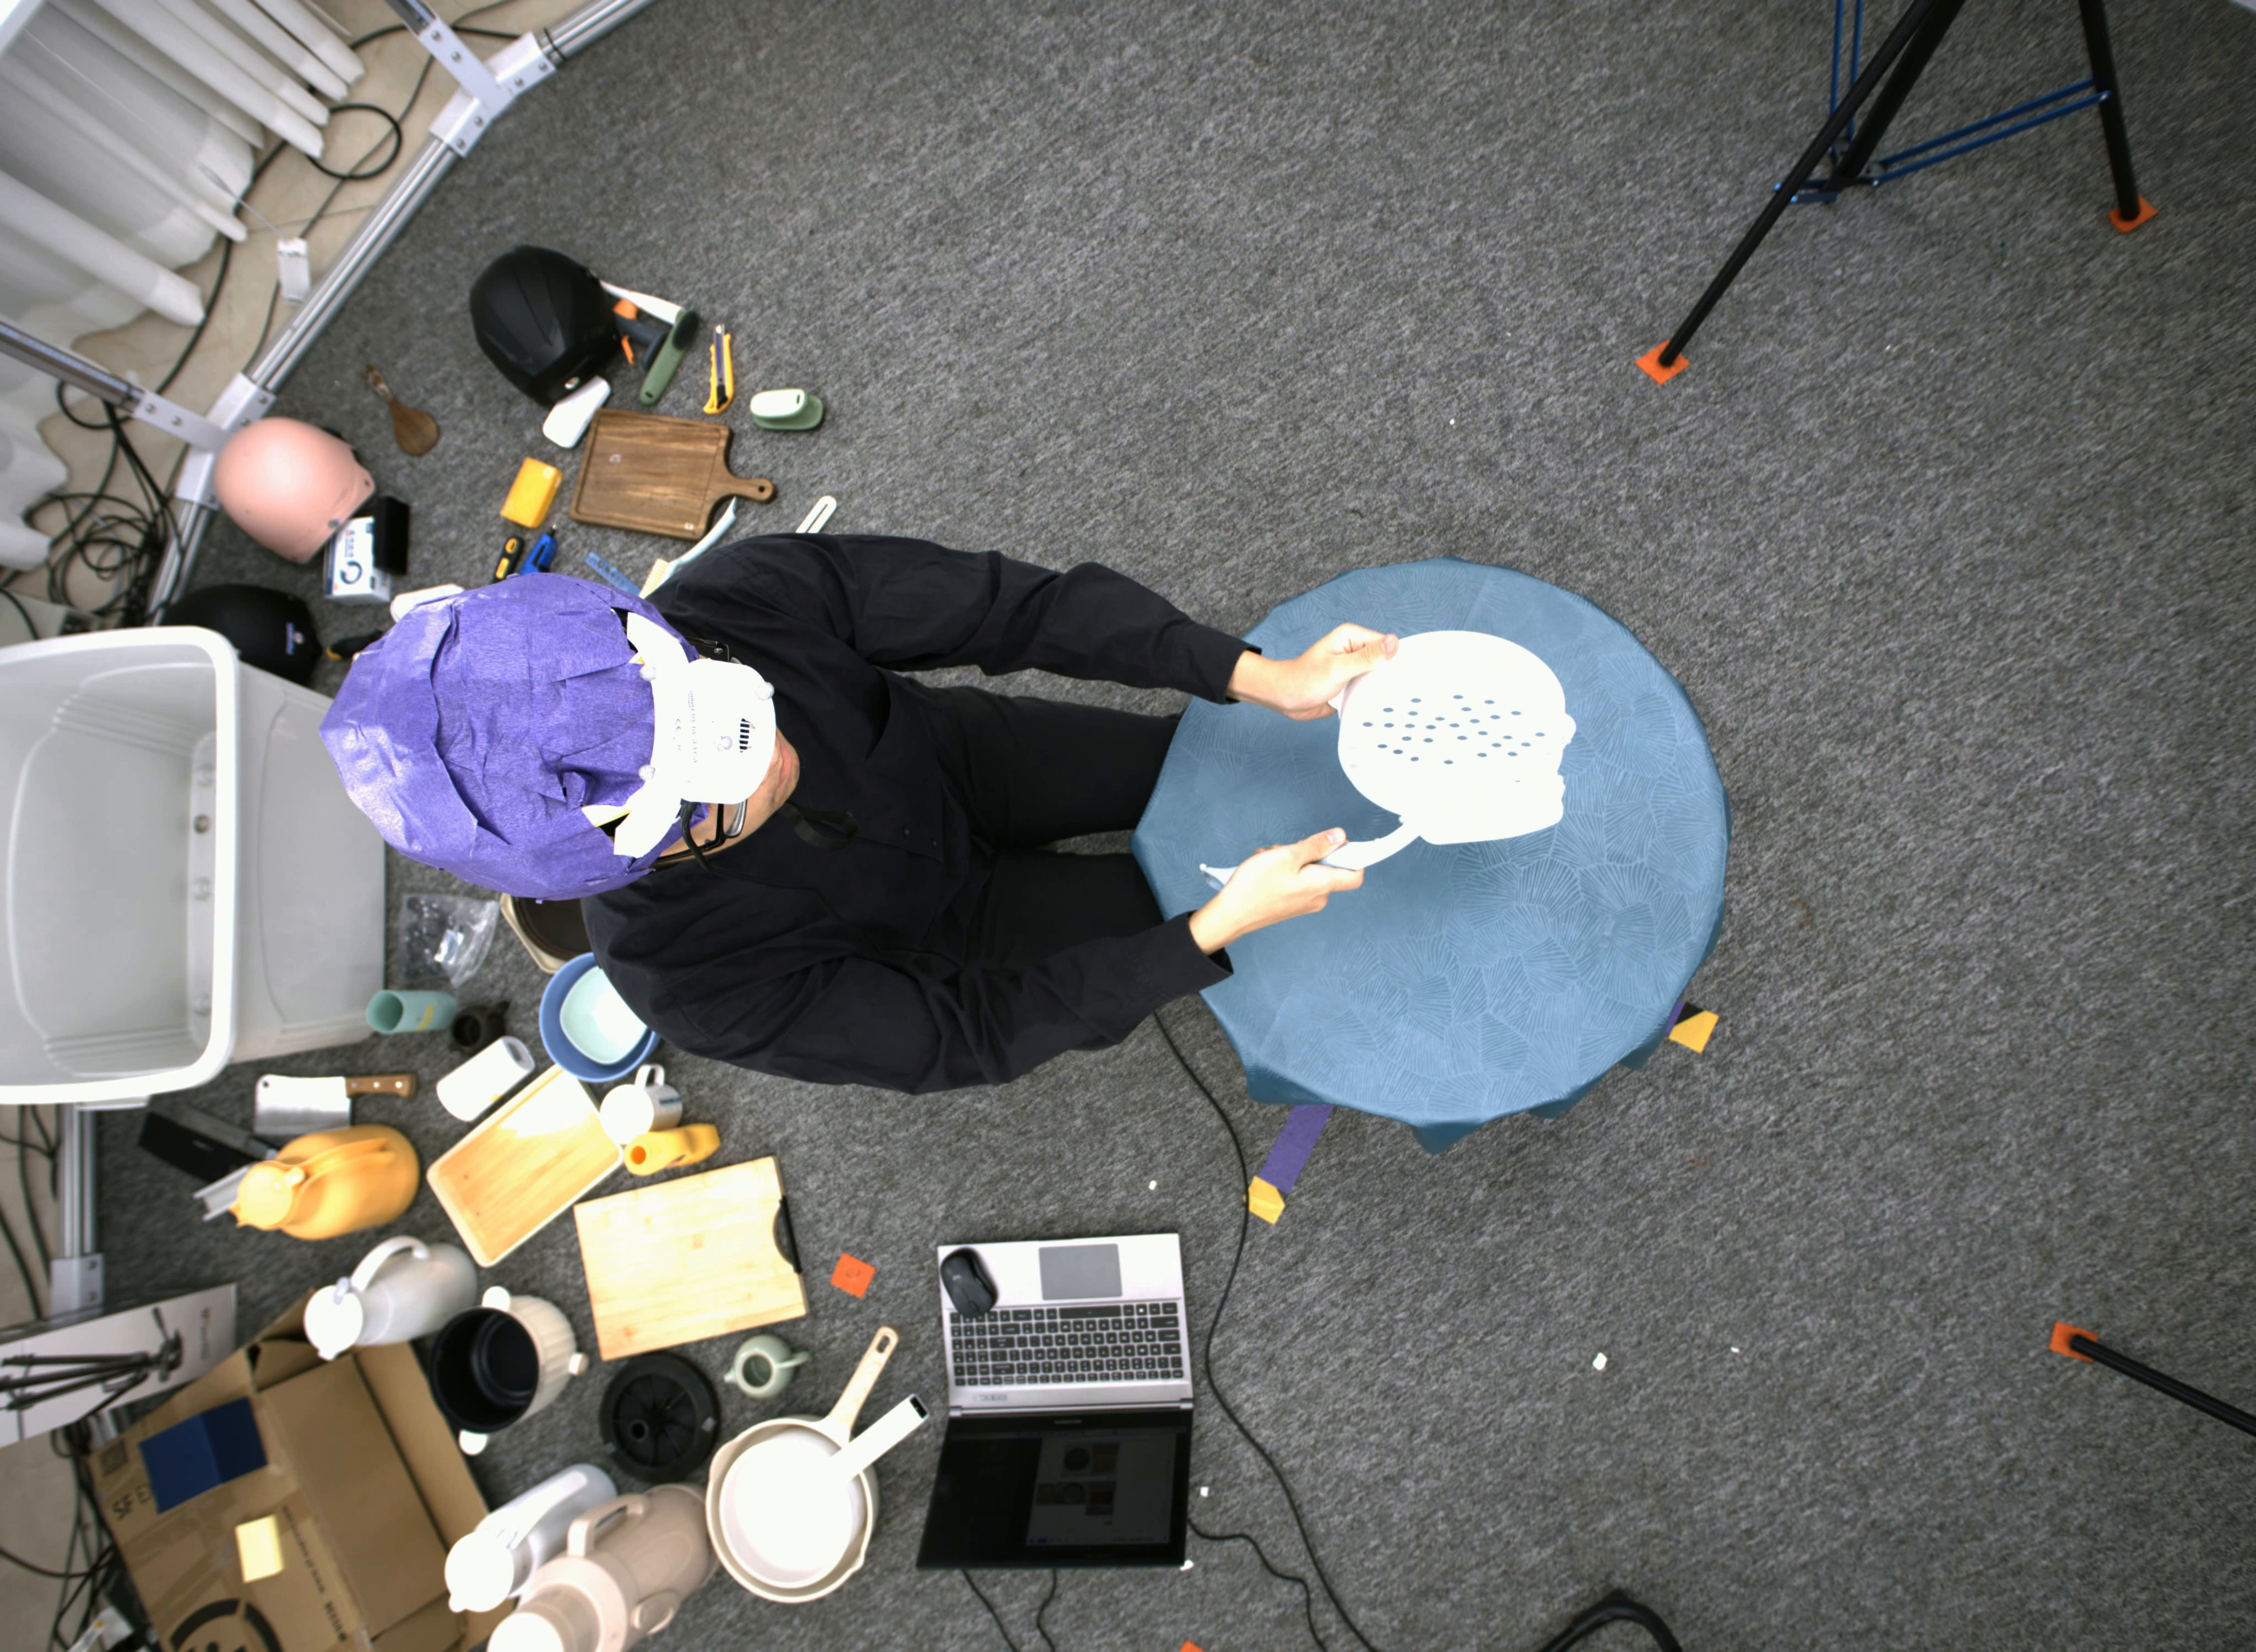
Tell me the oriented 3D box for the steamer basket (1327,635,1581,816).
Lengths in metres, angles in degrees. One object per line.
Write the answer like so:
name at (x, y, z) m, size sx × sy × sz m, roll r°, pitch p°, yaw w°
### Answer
steamer basket at (0.291, -0.080, 1.220) m, size 0.231 × 0.207 × 0.067 m, roll 13°, pitch 56°, yaw -6°

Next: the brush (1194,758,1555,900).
brush at (0.214, -0.007, 1.229) m, size 0.328 × 0.084 × 0.083 m, roll -13°, pitch 93°, yaw 15°
